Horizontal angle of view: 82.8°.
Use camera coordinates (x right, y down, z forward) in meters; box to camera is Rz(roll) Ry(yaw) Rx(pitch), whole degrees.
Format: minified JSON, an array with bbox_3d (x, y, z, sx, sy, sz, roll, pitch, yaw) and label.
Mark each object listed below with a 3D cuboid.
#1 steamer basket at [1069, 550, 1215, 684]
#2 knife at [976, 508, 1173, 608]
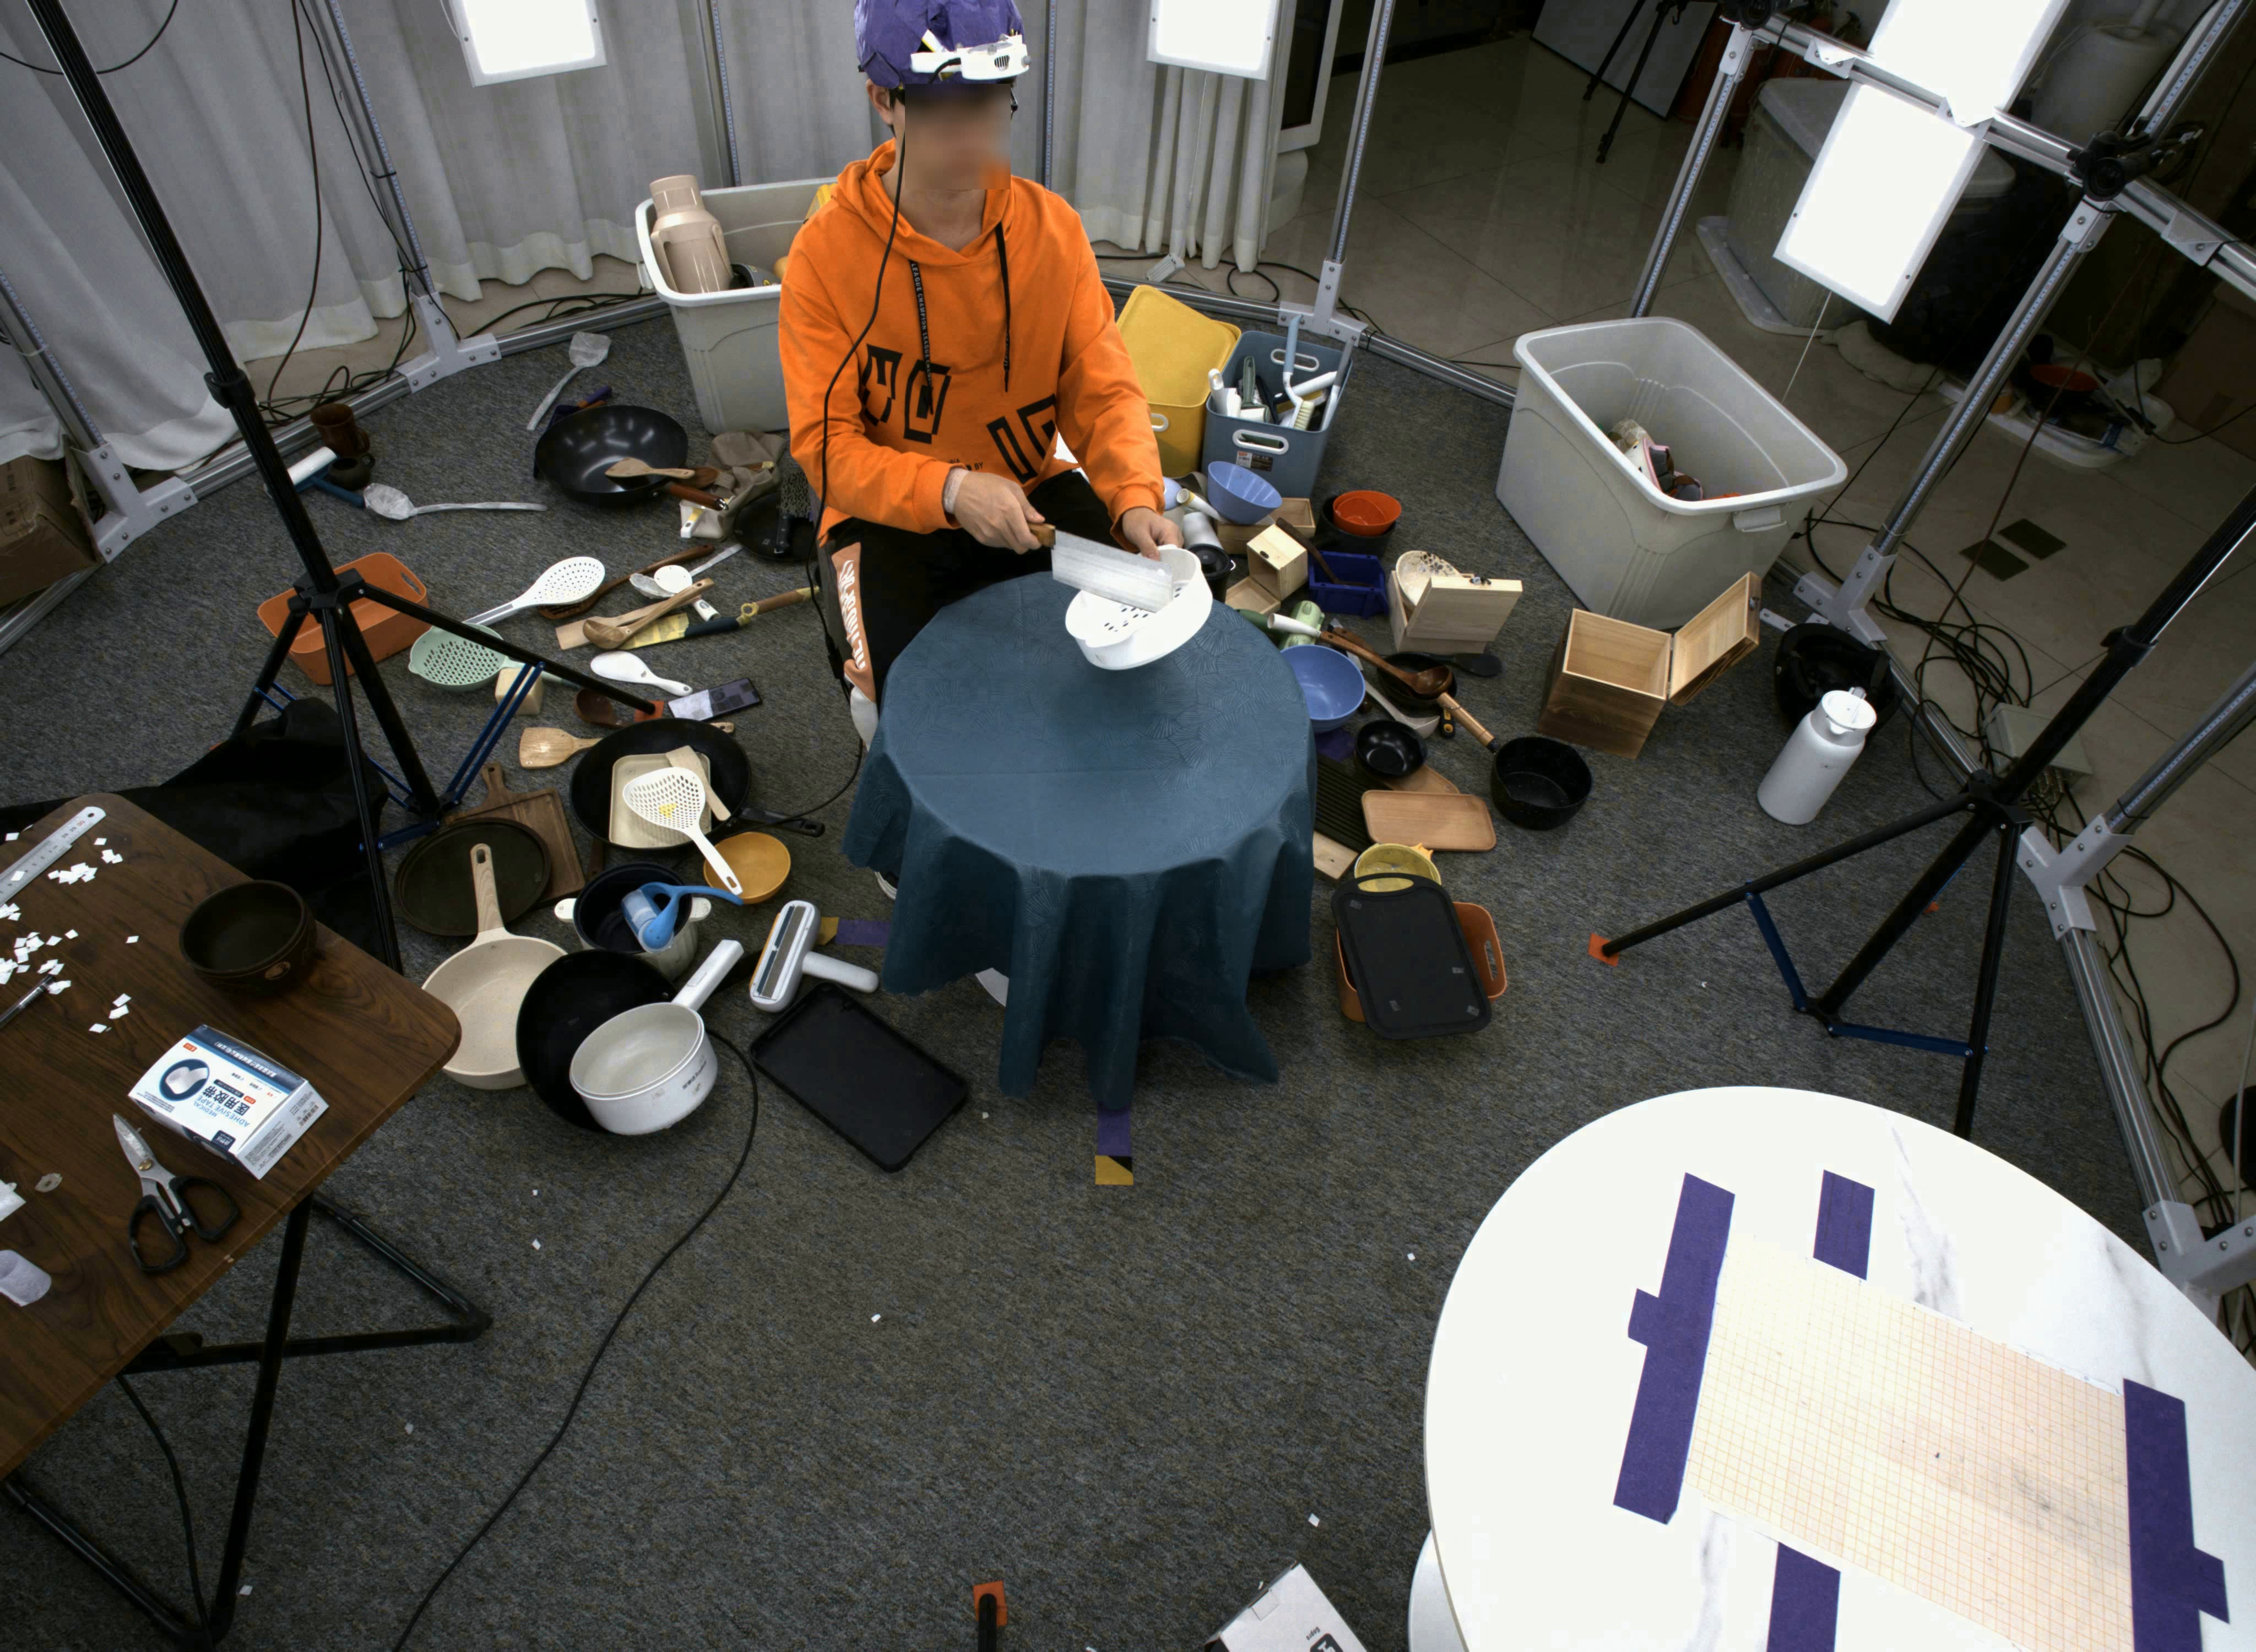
[{"bbox_3d":[0.022,-0.281,1.753,0.202,0.068,0.235,-7,45,31],"label":"steamer basket"},{"bbox_3d":[-0.074,-0.365,1.769,0.308,0.090,0.021,21,53,22],"label":"knife"}]
